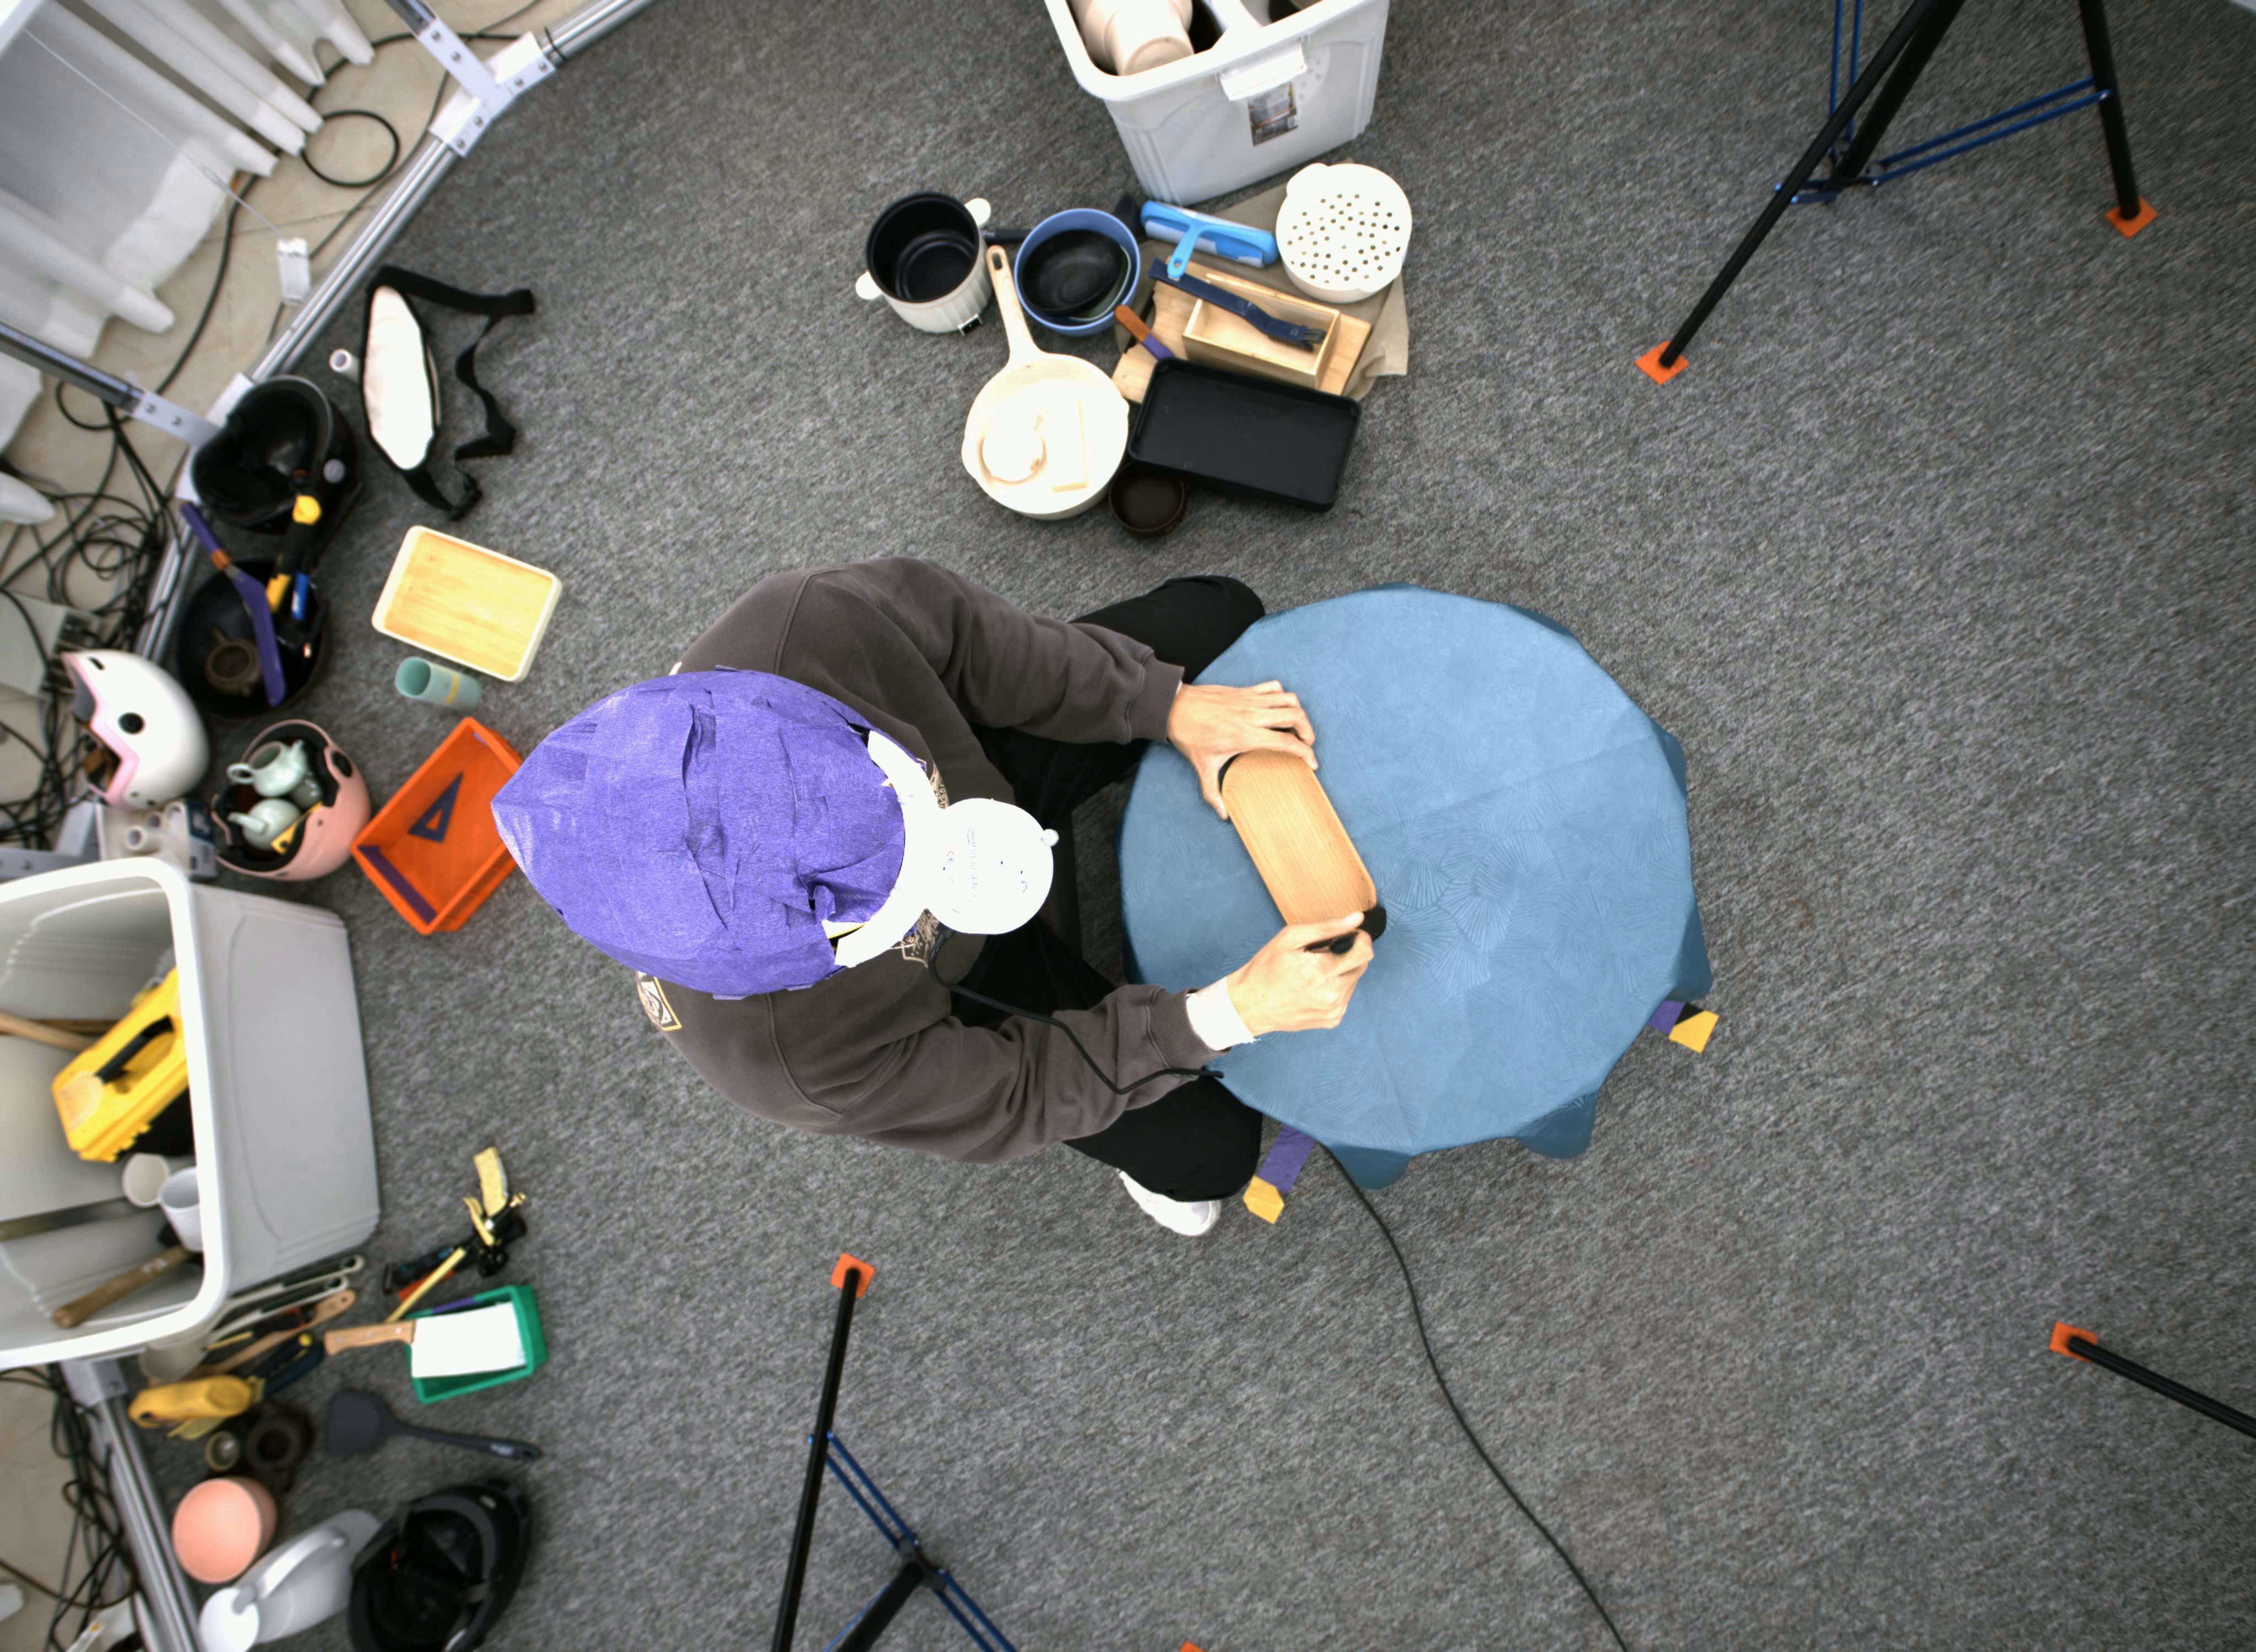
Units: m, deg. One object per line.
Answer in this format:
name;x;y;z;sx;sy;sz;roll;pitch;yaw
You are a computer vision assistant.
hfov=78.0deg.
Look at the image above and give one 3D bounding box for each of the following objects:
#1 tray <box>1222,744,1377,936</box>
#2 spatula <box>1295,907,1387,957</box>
tray;0.181;0.020;1.468;0.102;0.020;0.230;-28;85;7
spatula;0.200;0.099;1.293;0.100;0.326;0.040;-18;82;8
